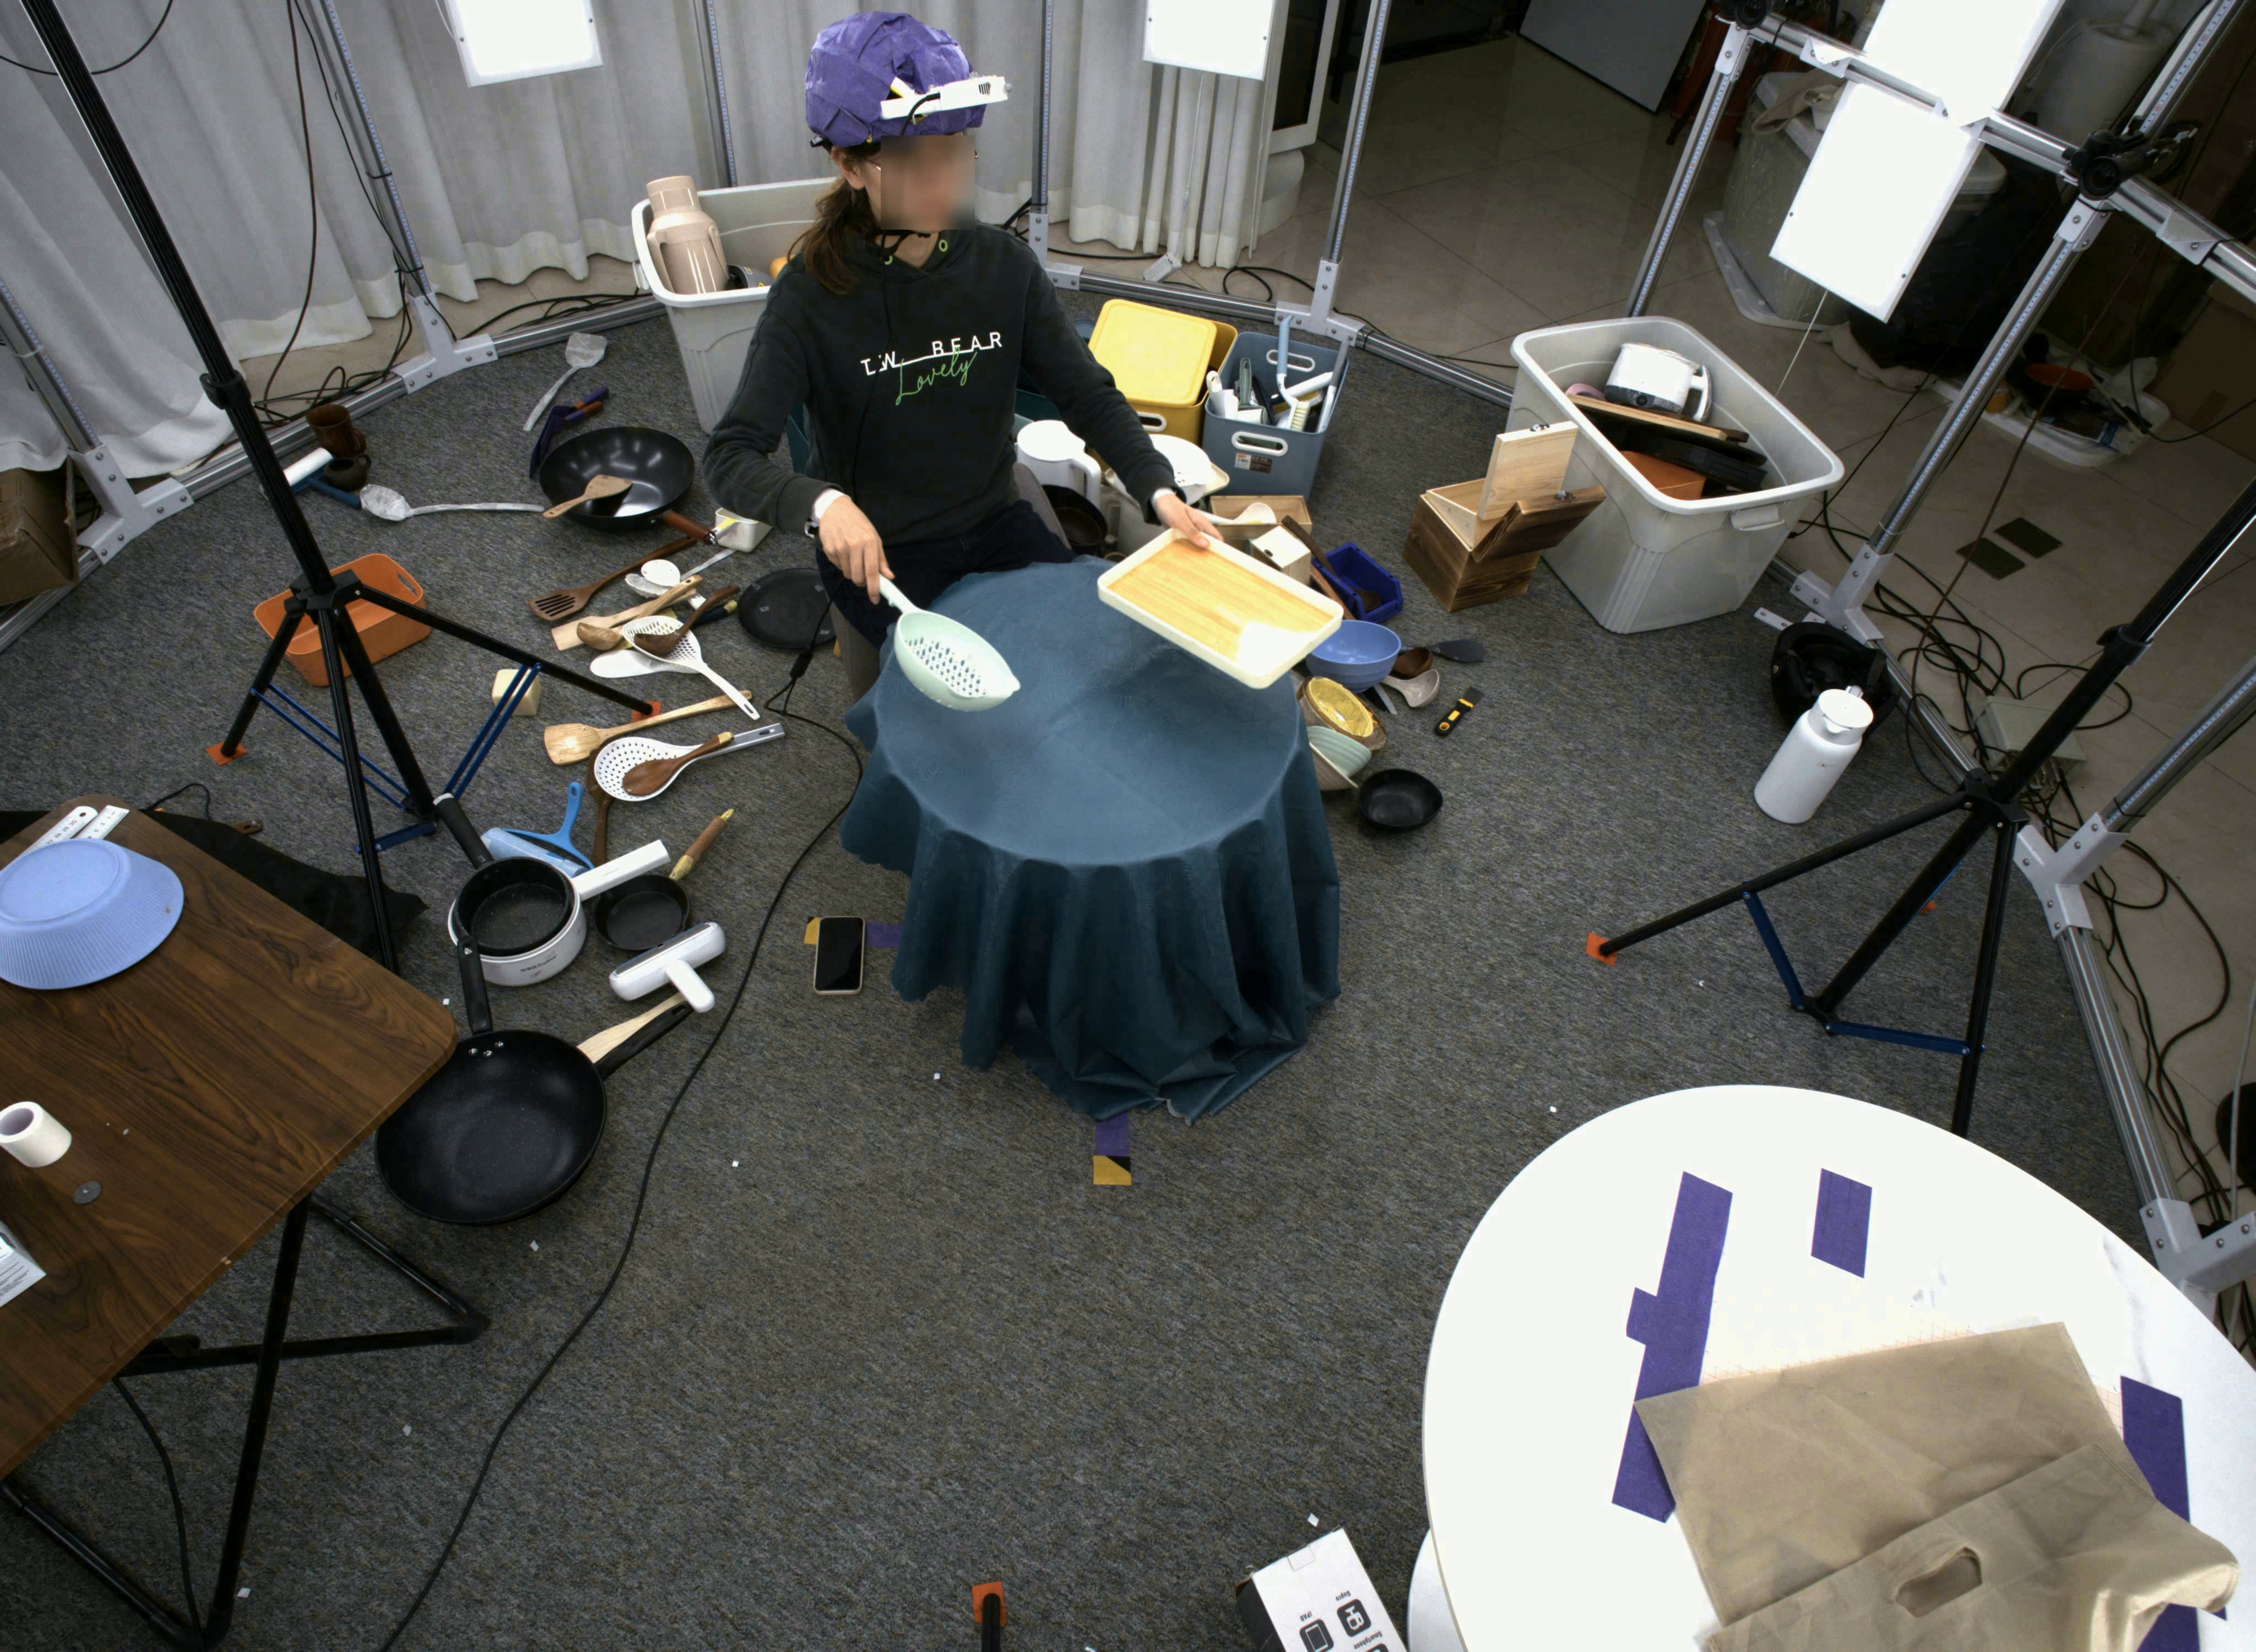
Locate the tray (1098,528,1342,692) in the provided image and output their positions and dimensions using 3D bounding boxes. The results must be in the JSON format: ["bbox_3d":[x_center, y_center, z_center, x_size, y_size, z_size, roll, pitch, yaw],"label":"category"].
[{"bbox_3d":[0.125,-0.304,1.776,0.305,0.027,0.193,34,57,28],"label":"tray"}]

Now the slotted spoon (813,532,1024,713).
[{"bbox_3d":[-0.286,-0.274,1.673,0.362,0.074,0.169,52,28,13],"label":"slotted spoon"}]
